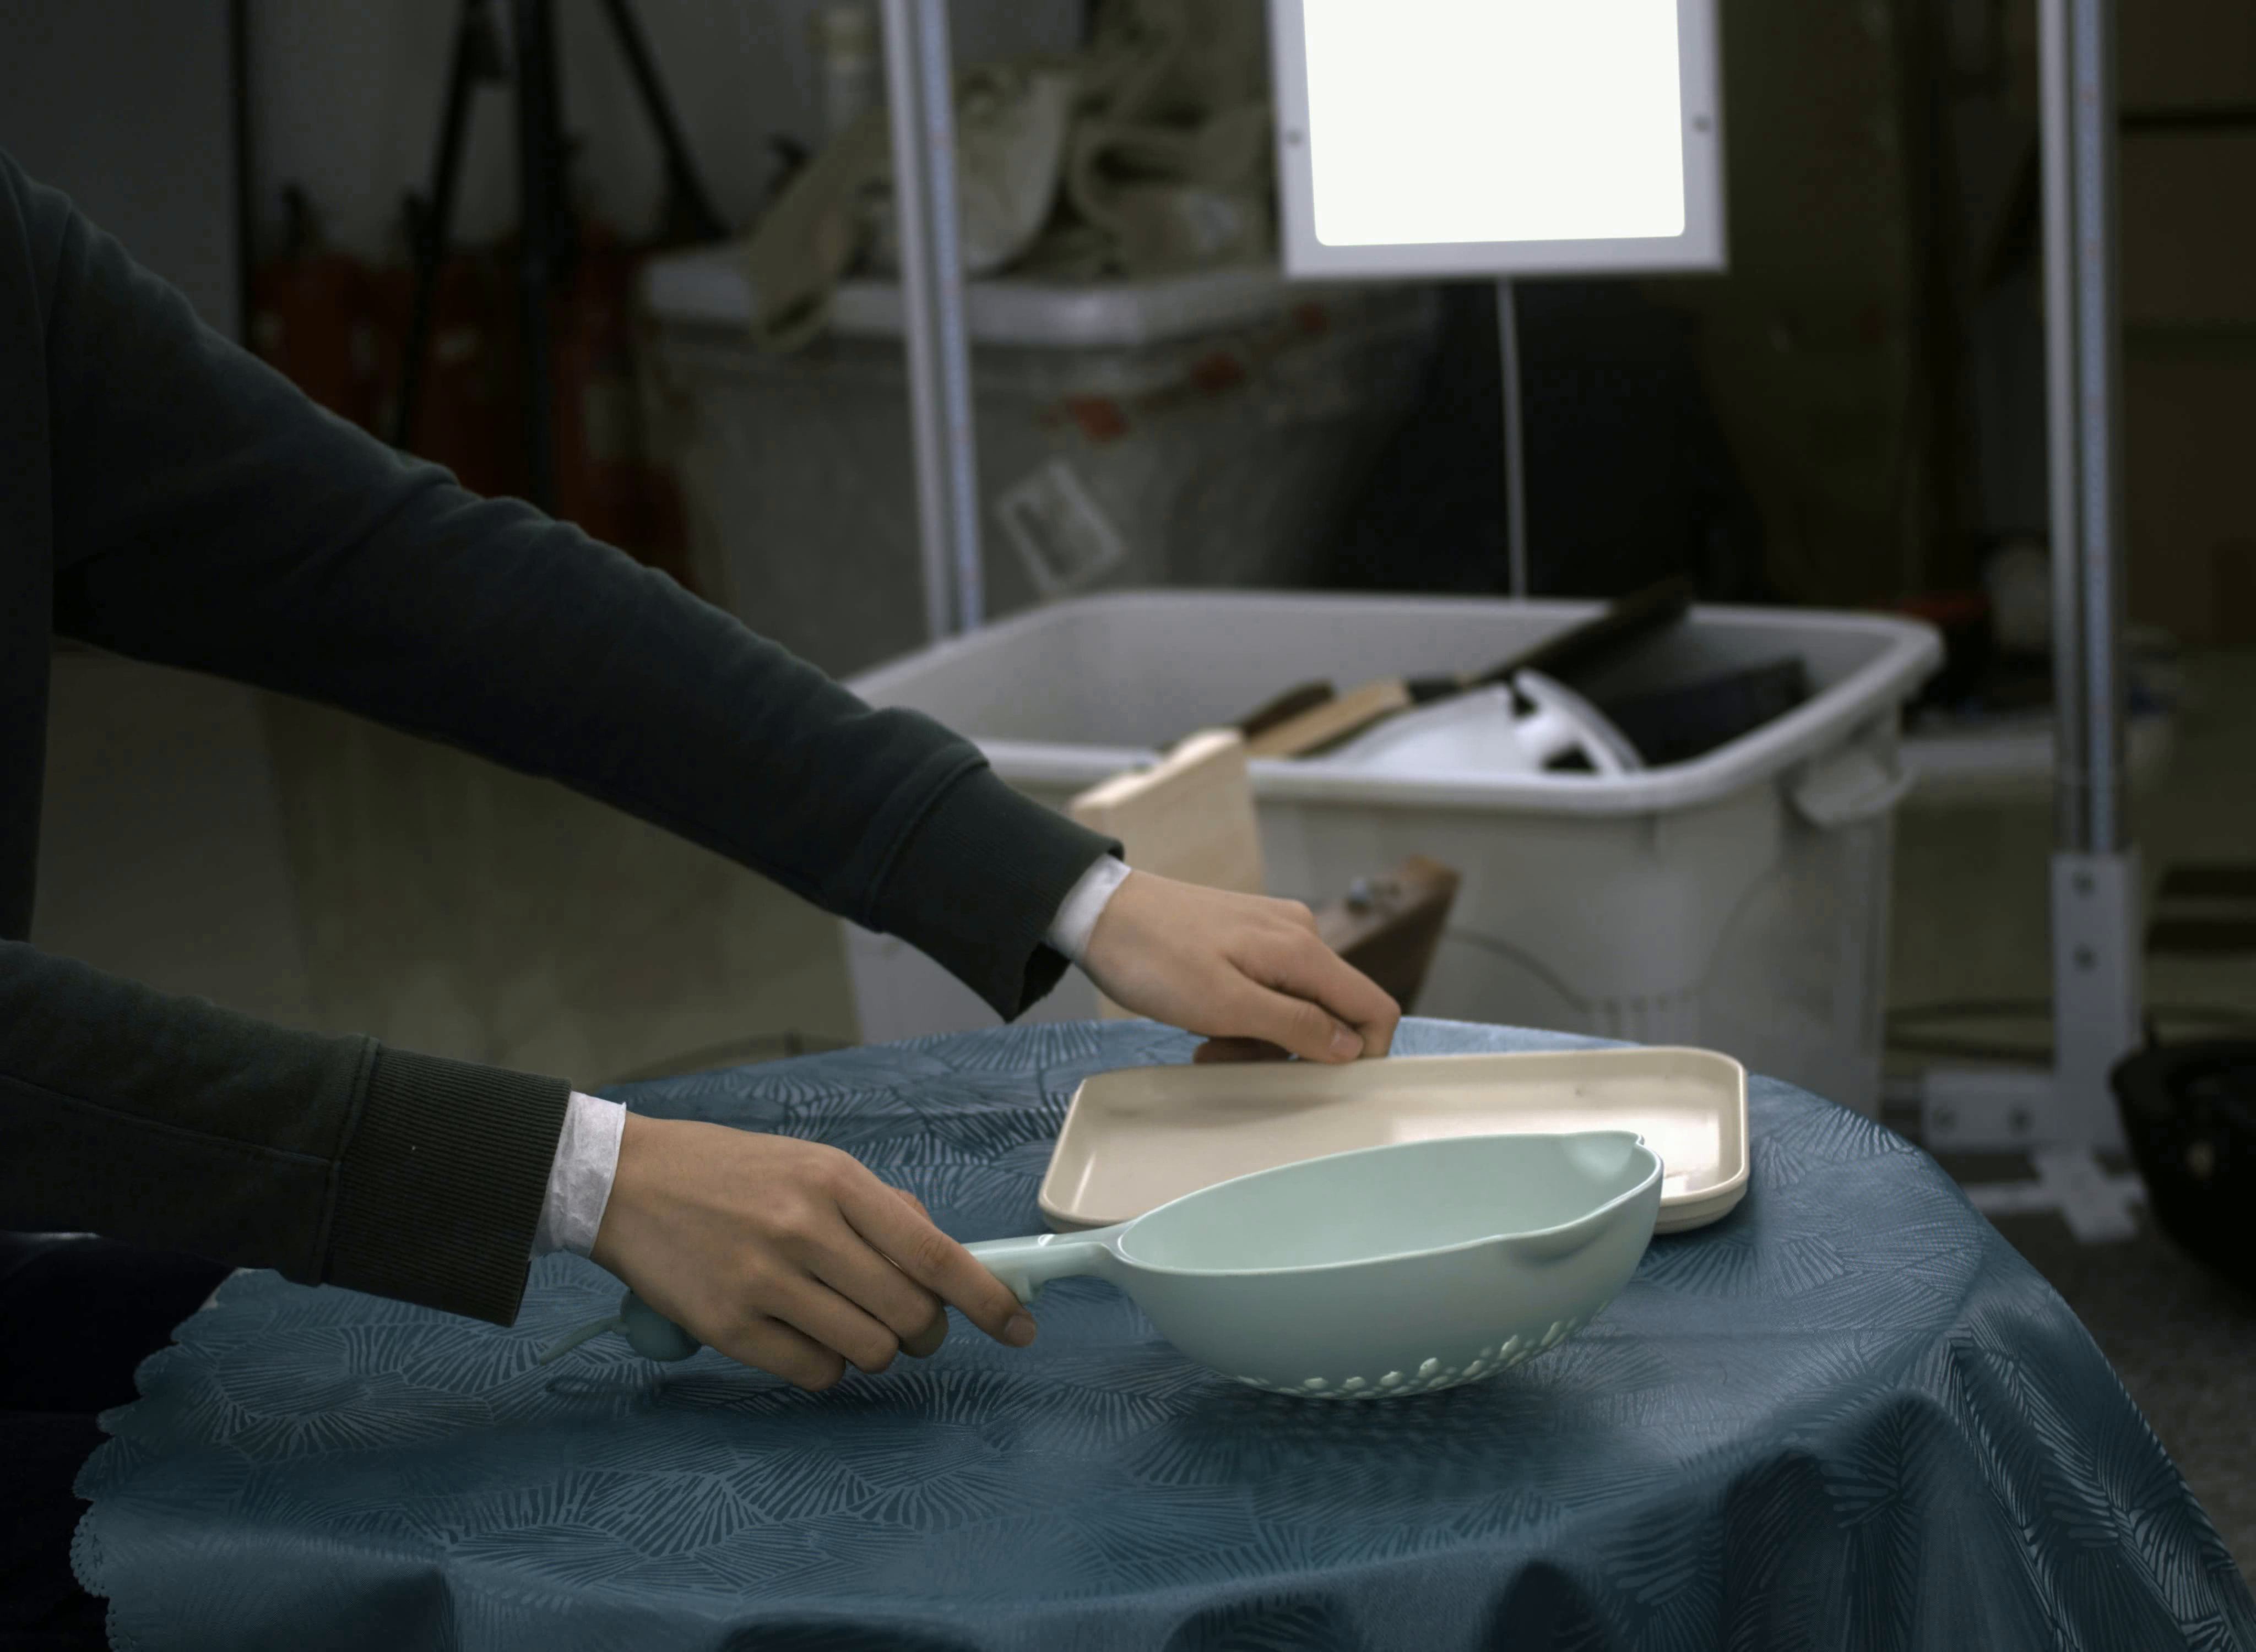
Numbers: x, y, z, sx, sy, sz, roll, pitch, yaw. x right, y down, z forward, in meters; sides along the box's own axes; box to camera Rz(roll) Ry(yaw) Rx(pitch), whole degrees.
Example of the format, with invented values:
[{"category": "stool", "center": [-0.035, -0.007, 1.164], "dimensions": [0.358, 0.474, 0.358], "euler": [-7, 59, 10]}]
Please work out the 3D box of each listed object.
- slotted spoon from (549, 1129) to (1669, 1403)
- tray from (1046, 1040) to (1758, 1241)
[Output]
[{"category": "slotted spoon", "center": [-0.011, 0.139, 1.705], "dimensions": [0.362, 0.075, 0.167], "euler": [0, 8, 15]}, {"category": "tray", "center": [0.096, 0.111, 1.882], "dimensions": [0.241, 0.017, 0.170], "euler": [-4, 15, 8]}]
